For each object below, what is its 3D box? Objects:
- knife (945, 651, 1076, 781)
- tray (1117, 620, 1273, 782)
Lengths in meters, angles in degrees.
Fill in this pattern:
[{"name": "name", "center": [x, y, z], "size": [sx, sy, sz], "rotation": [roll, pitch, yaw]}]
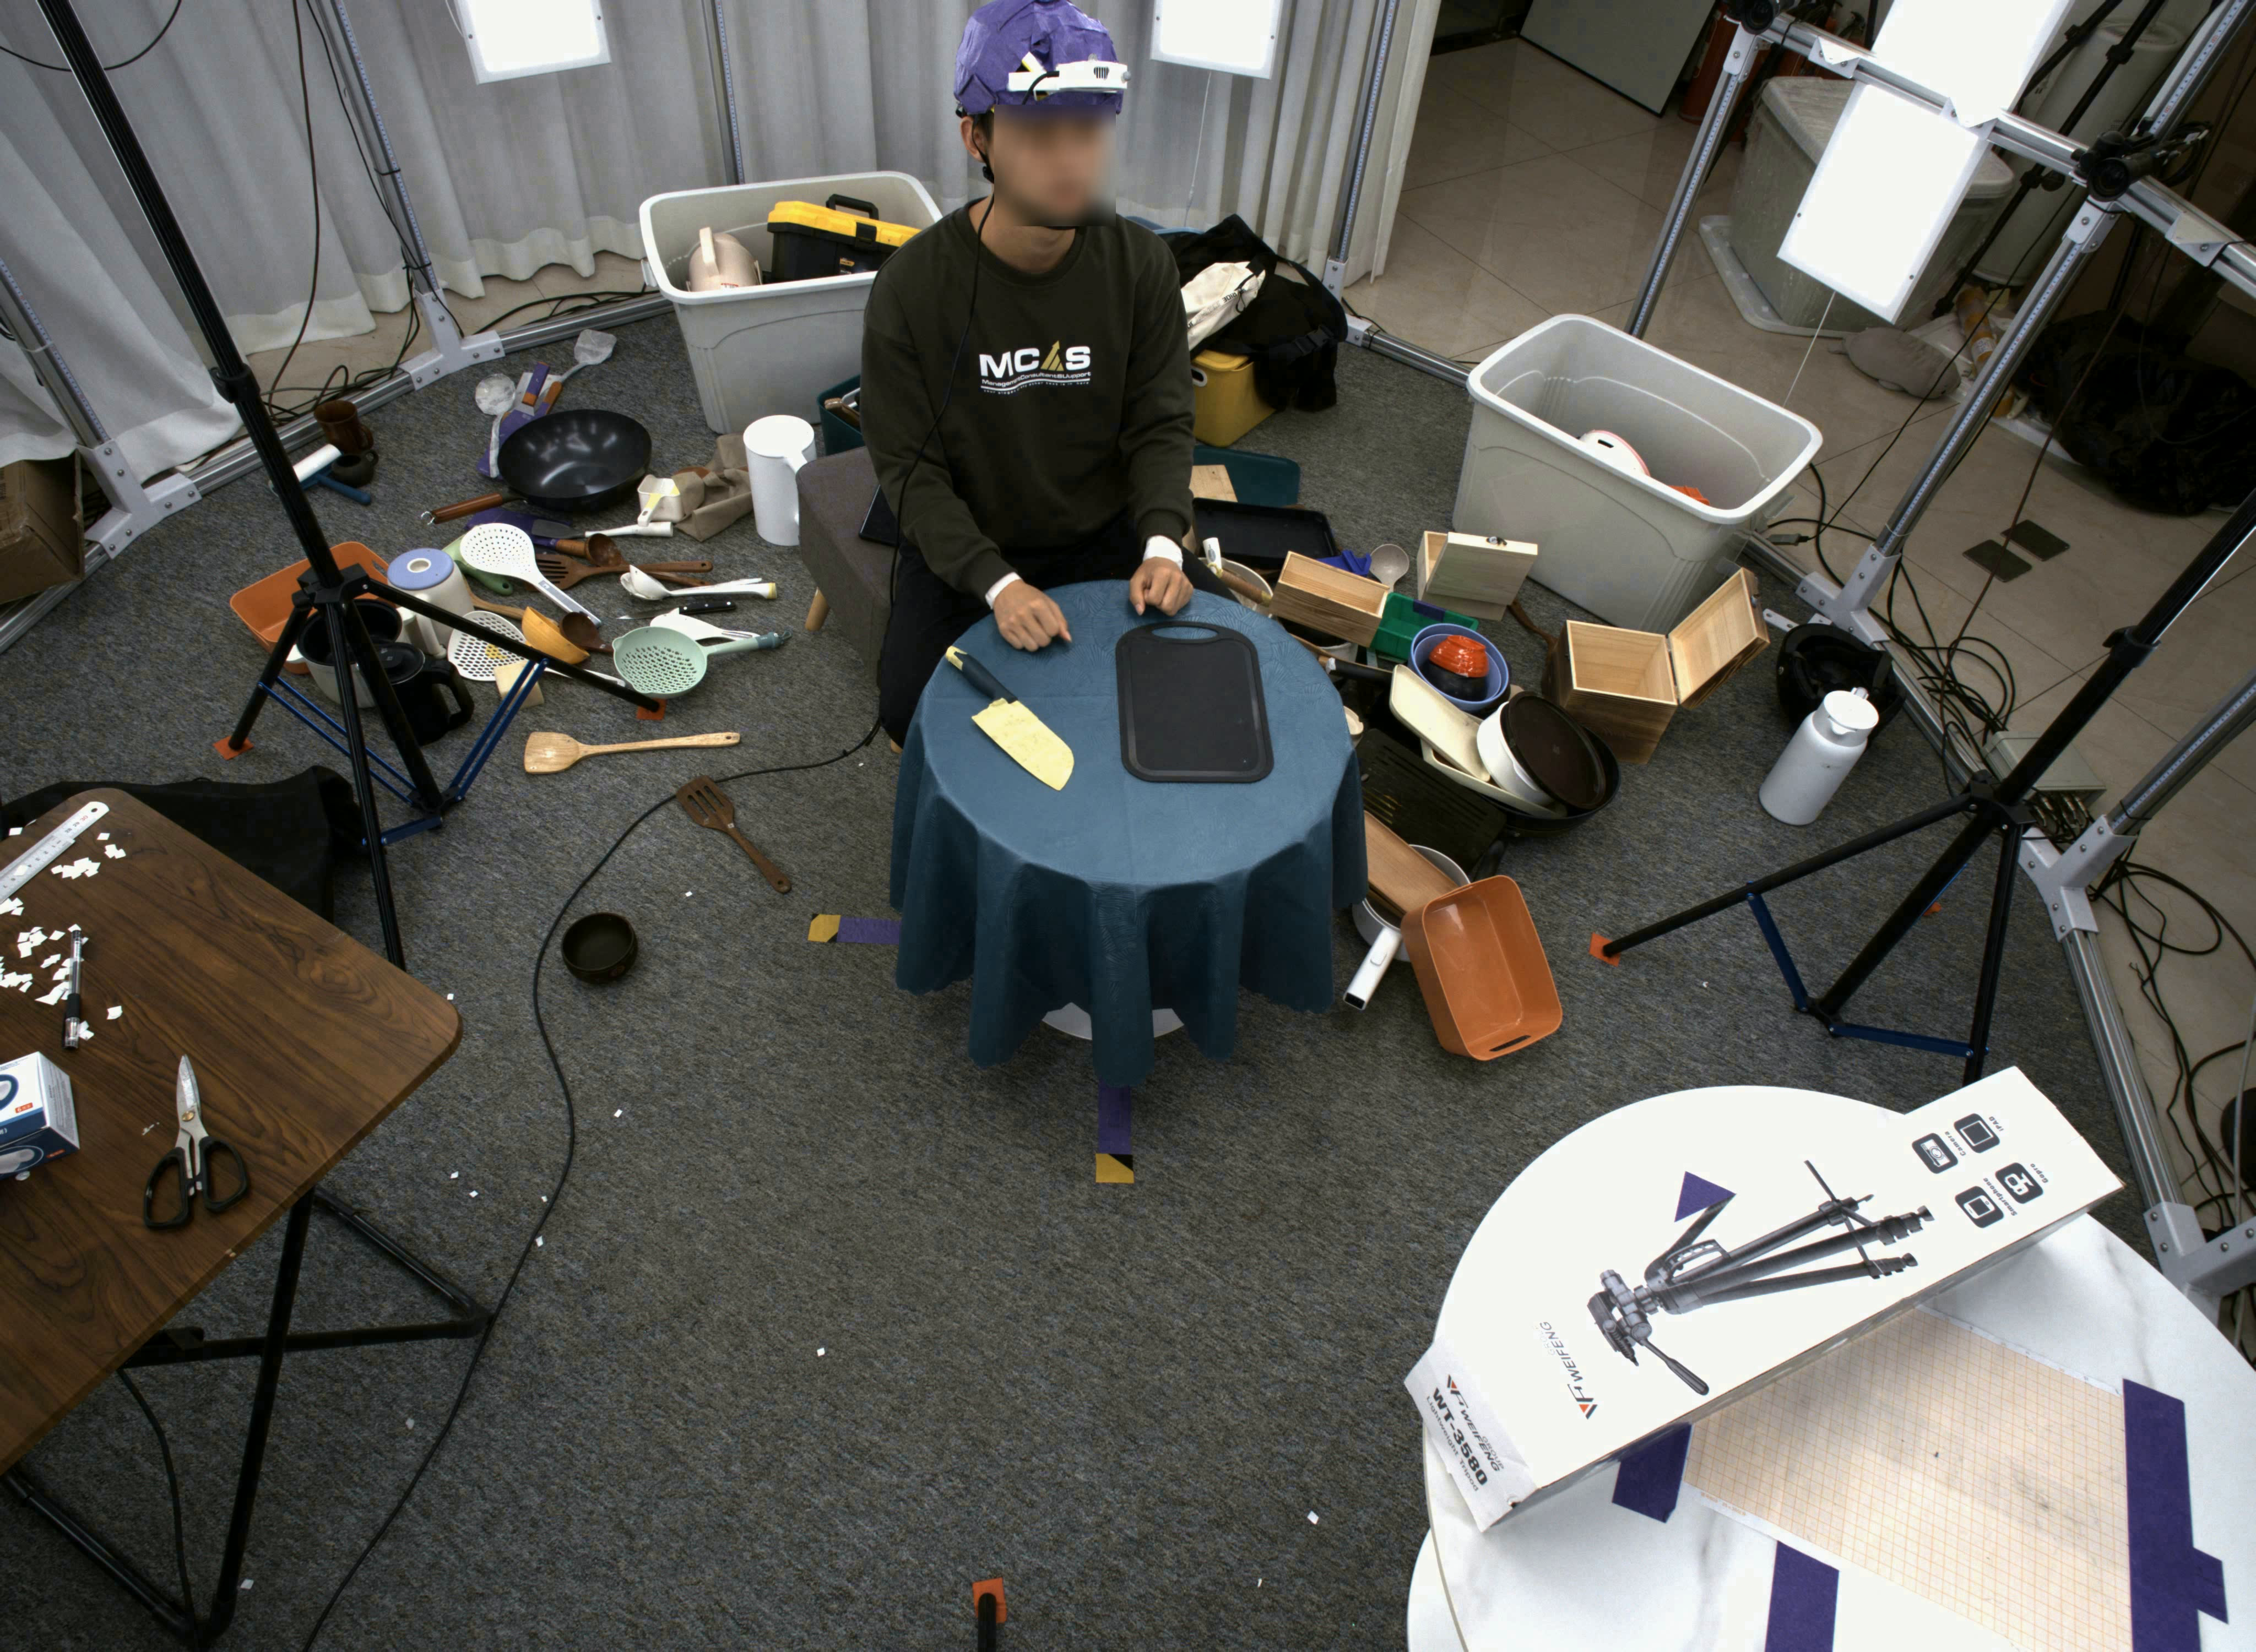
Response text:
[{"name": "knife", "center": [-0.172, -0.152, 1.778], "size": [0.081, 0.026, 0.294], "rotation": [-29, 58, -28]}, {"name": "tray", "center": [0.091, -0.186, 1.830], "size": [0.211, 0.009, 0.333], "rotation": [1, 49, -3]}]
